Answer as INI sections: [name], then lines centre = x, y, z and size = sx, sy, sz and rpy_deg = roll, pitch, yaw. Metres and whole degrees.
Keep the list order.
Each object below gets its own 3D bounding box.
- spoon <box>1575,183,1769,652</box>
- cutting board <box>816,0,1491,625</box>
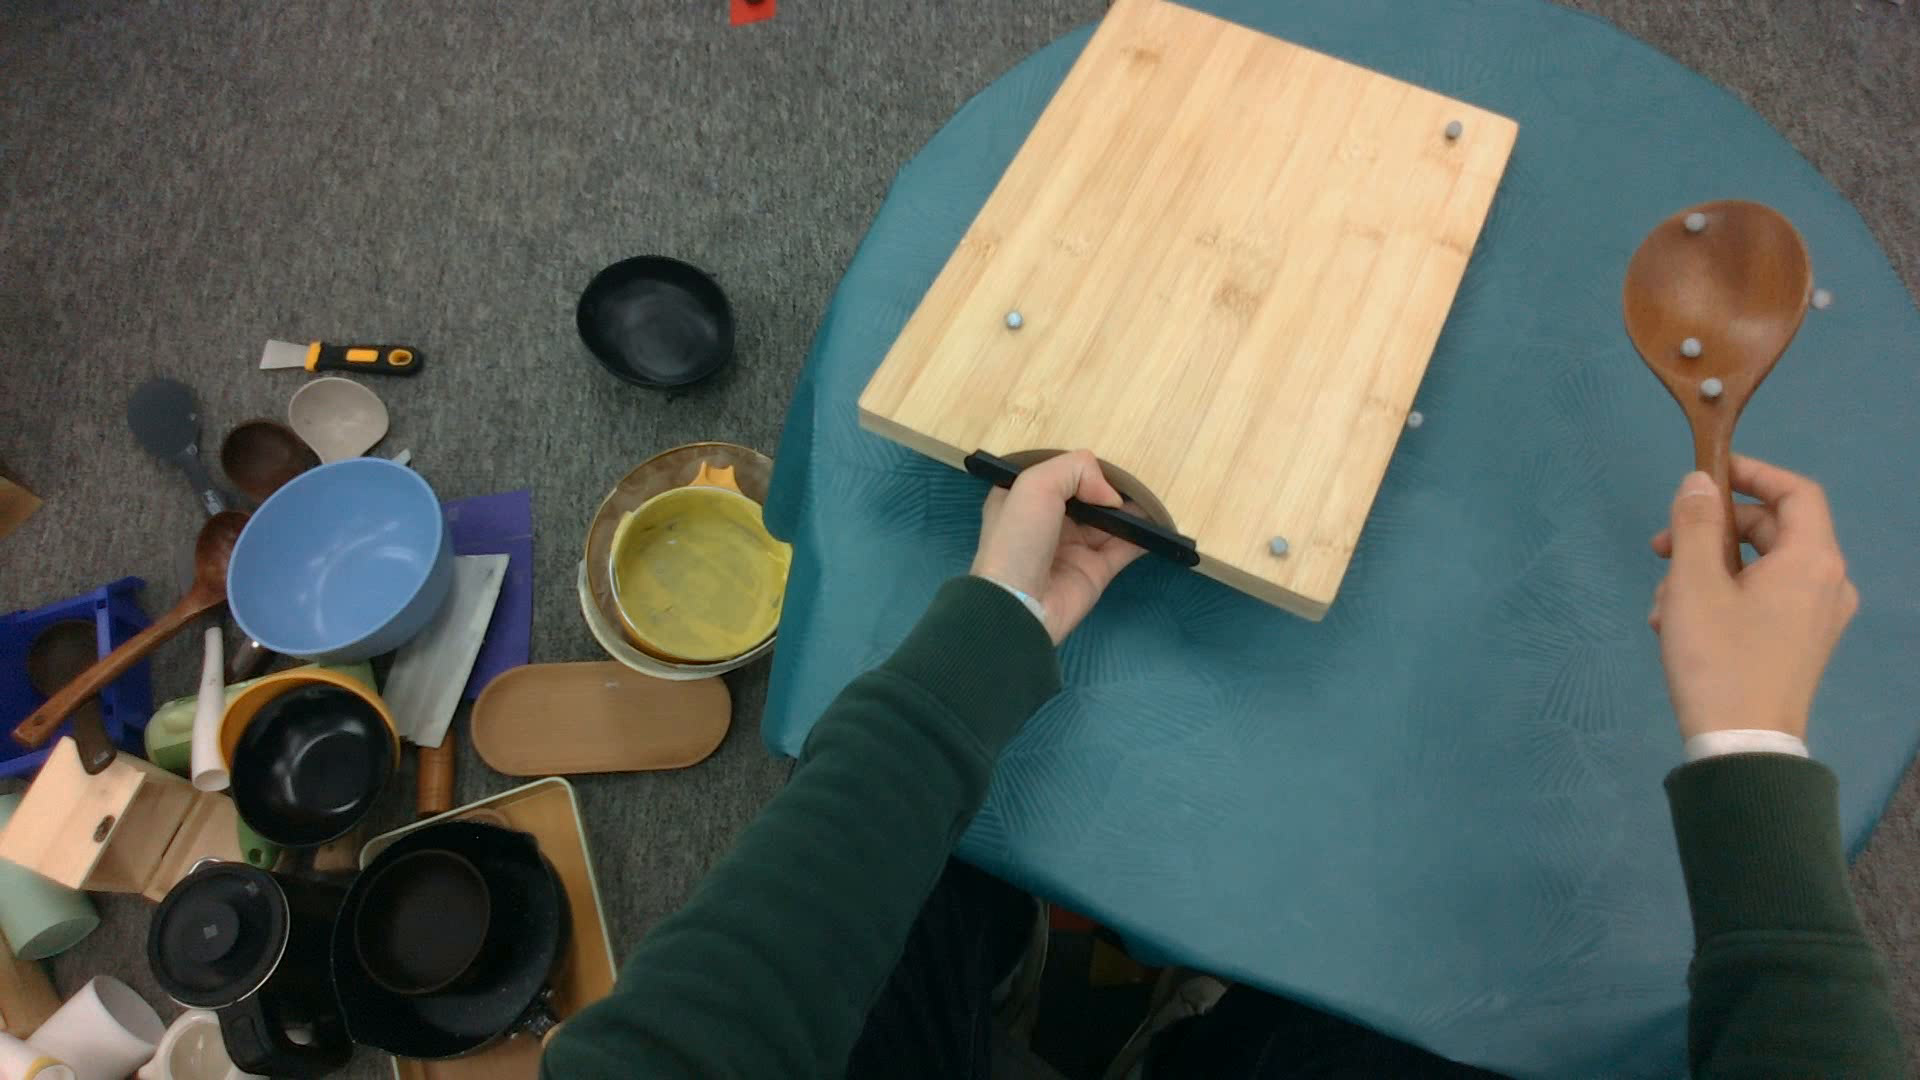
[spoon]
centre = 0.302, -0.057, 0.582
size = 0.075, 0.017, 0.216
rpy_deg = -3, 67, 29
[cutting board]
centre = 0.115, -0.143, 0.719
size = 0.250, 0.023, 0.350
rpy_deg = 22, 61, 10
